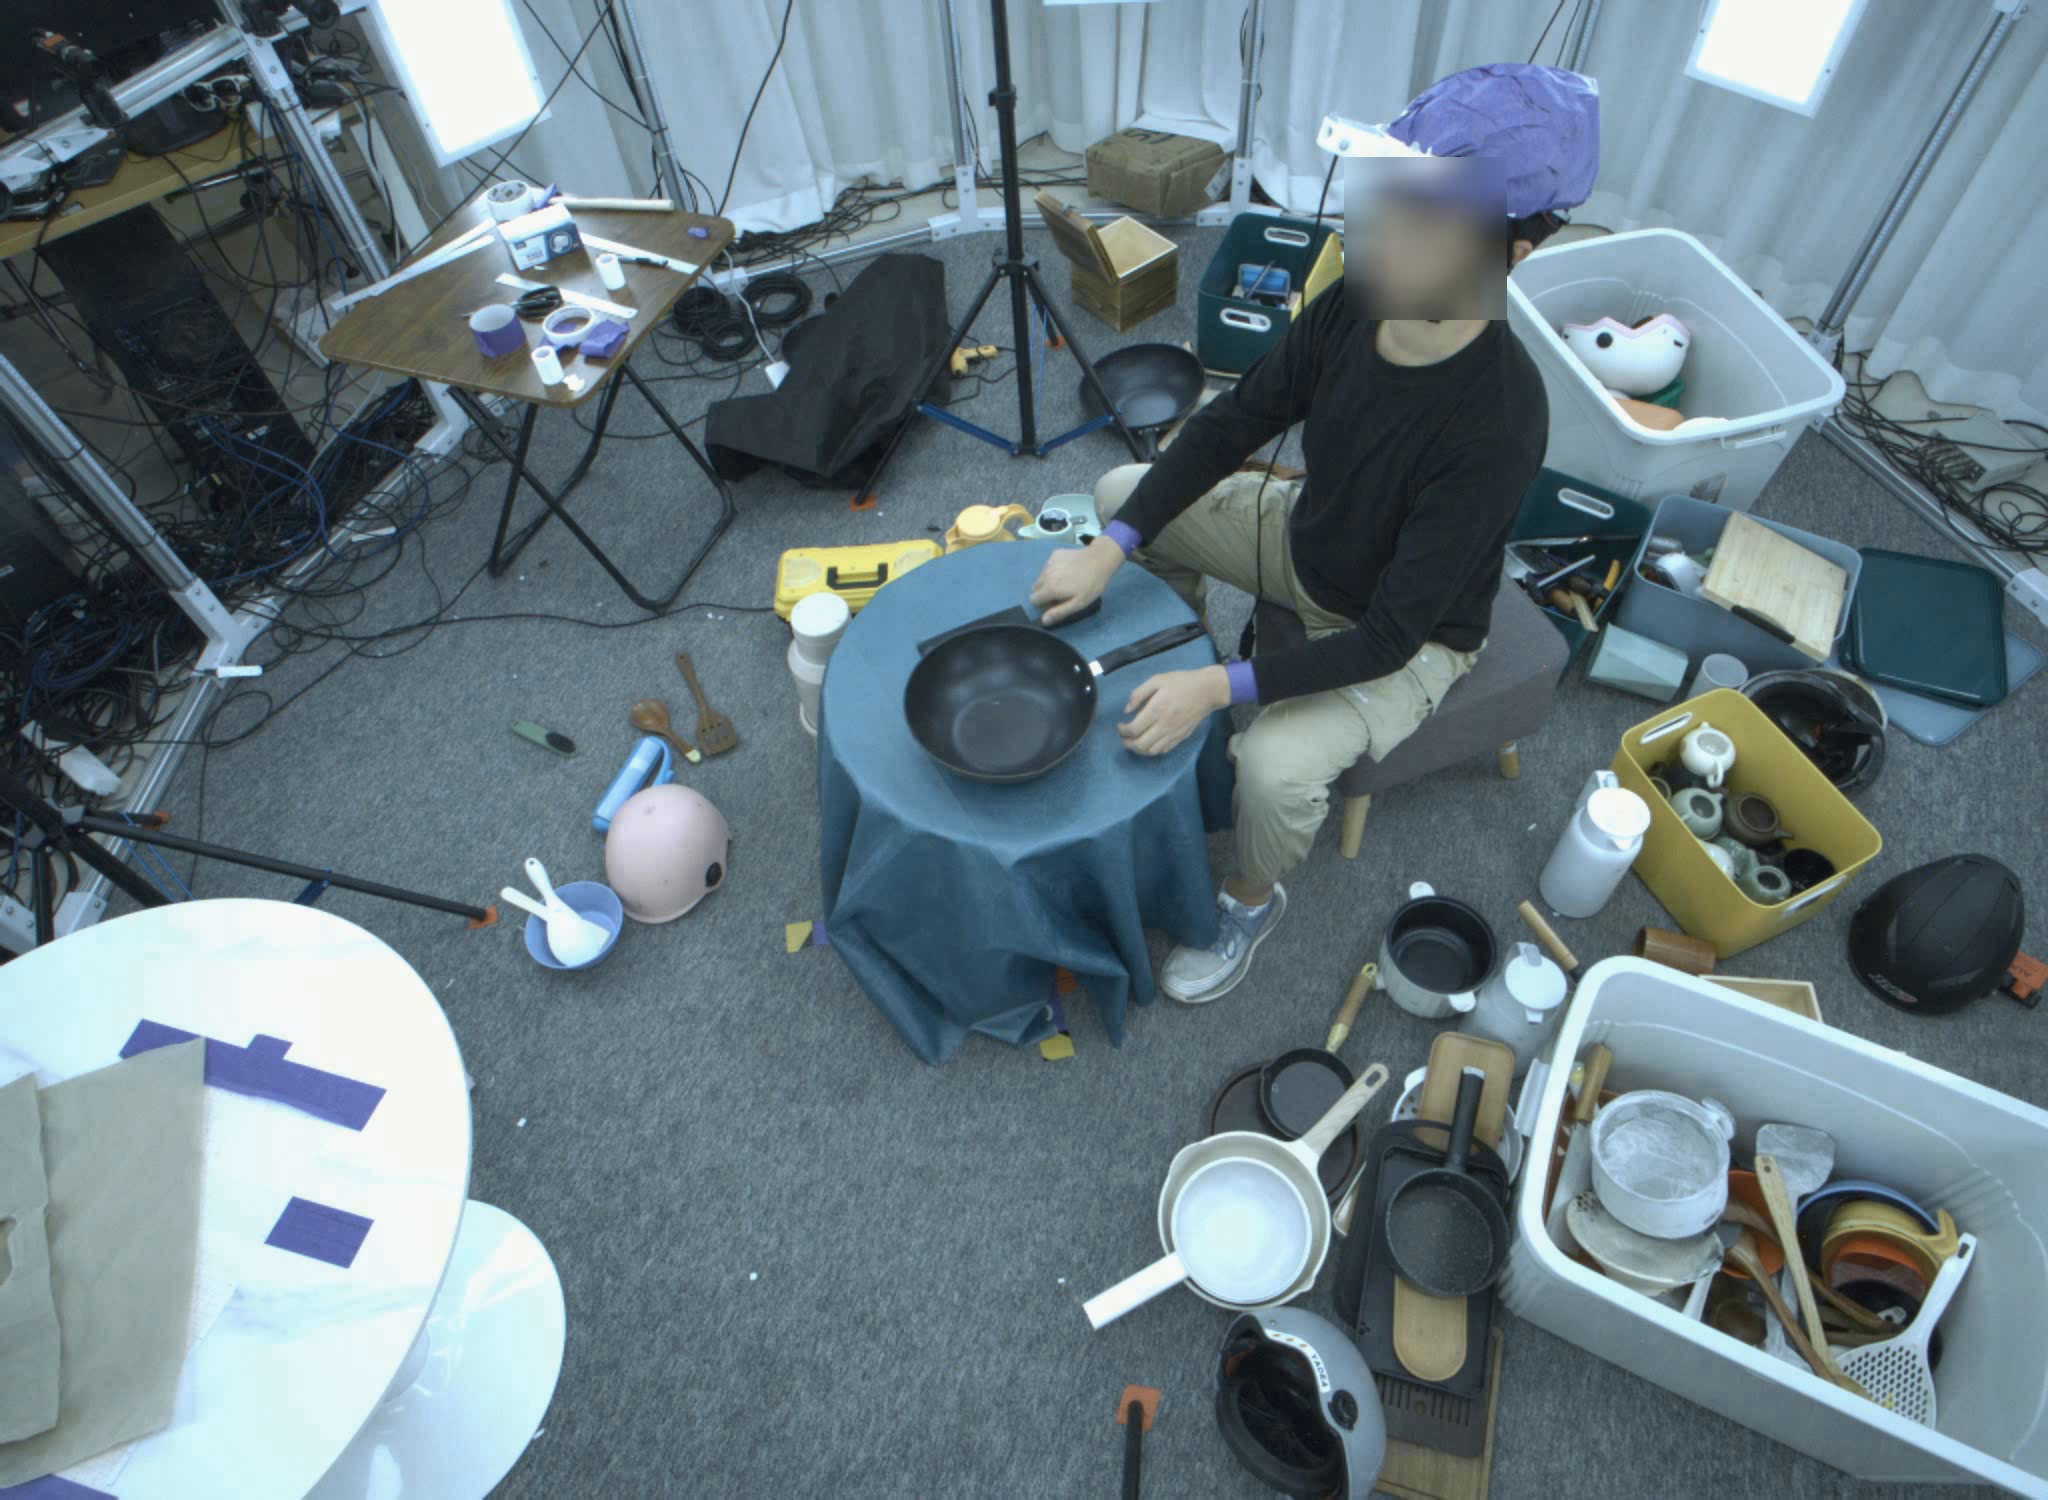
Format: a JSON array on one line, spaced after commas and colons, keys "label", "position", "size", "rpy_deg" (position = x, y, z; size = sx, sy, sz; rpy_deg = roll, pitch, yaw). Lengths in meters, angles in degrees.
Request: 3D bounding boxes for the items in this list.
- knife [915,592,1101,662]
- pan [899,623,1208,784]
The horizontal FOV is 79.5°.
[{"label": "knife", "position": [-0.022, -0.193, 1.914], "size": [0.304, 0.021, 0.079], "rpy_deg": [-17, 54, -8]}, {"label": "pan", "position": [0.049, -0.084, 1.791], "size": [0.467, 0.088, 0.283], "rpy_deg": [-19, 56, -12]}]
